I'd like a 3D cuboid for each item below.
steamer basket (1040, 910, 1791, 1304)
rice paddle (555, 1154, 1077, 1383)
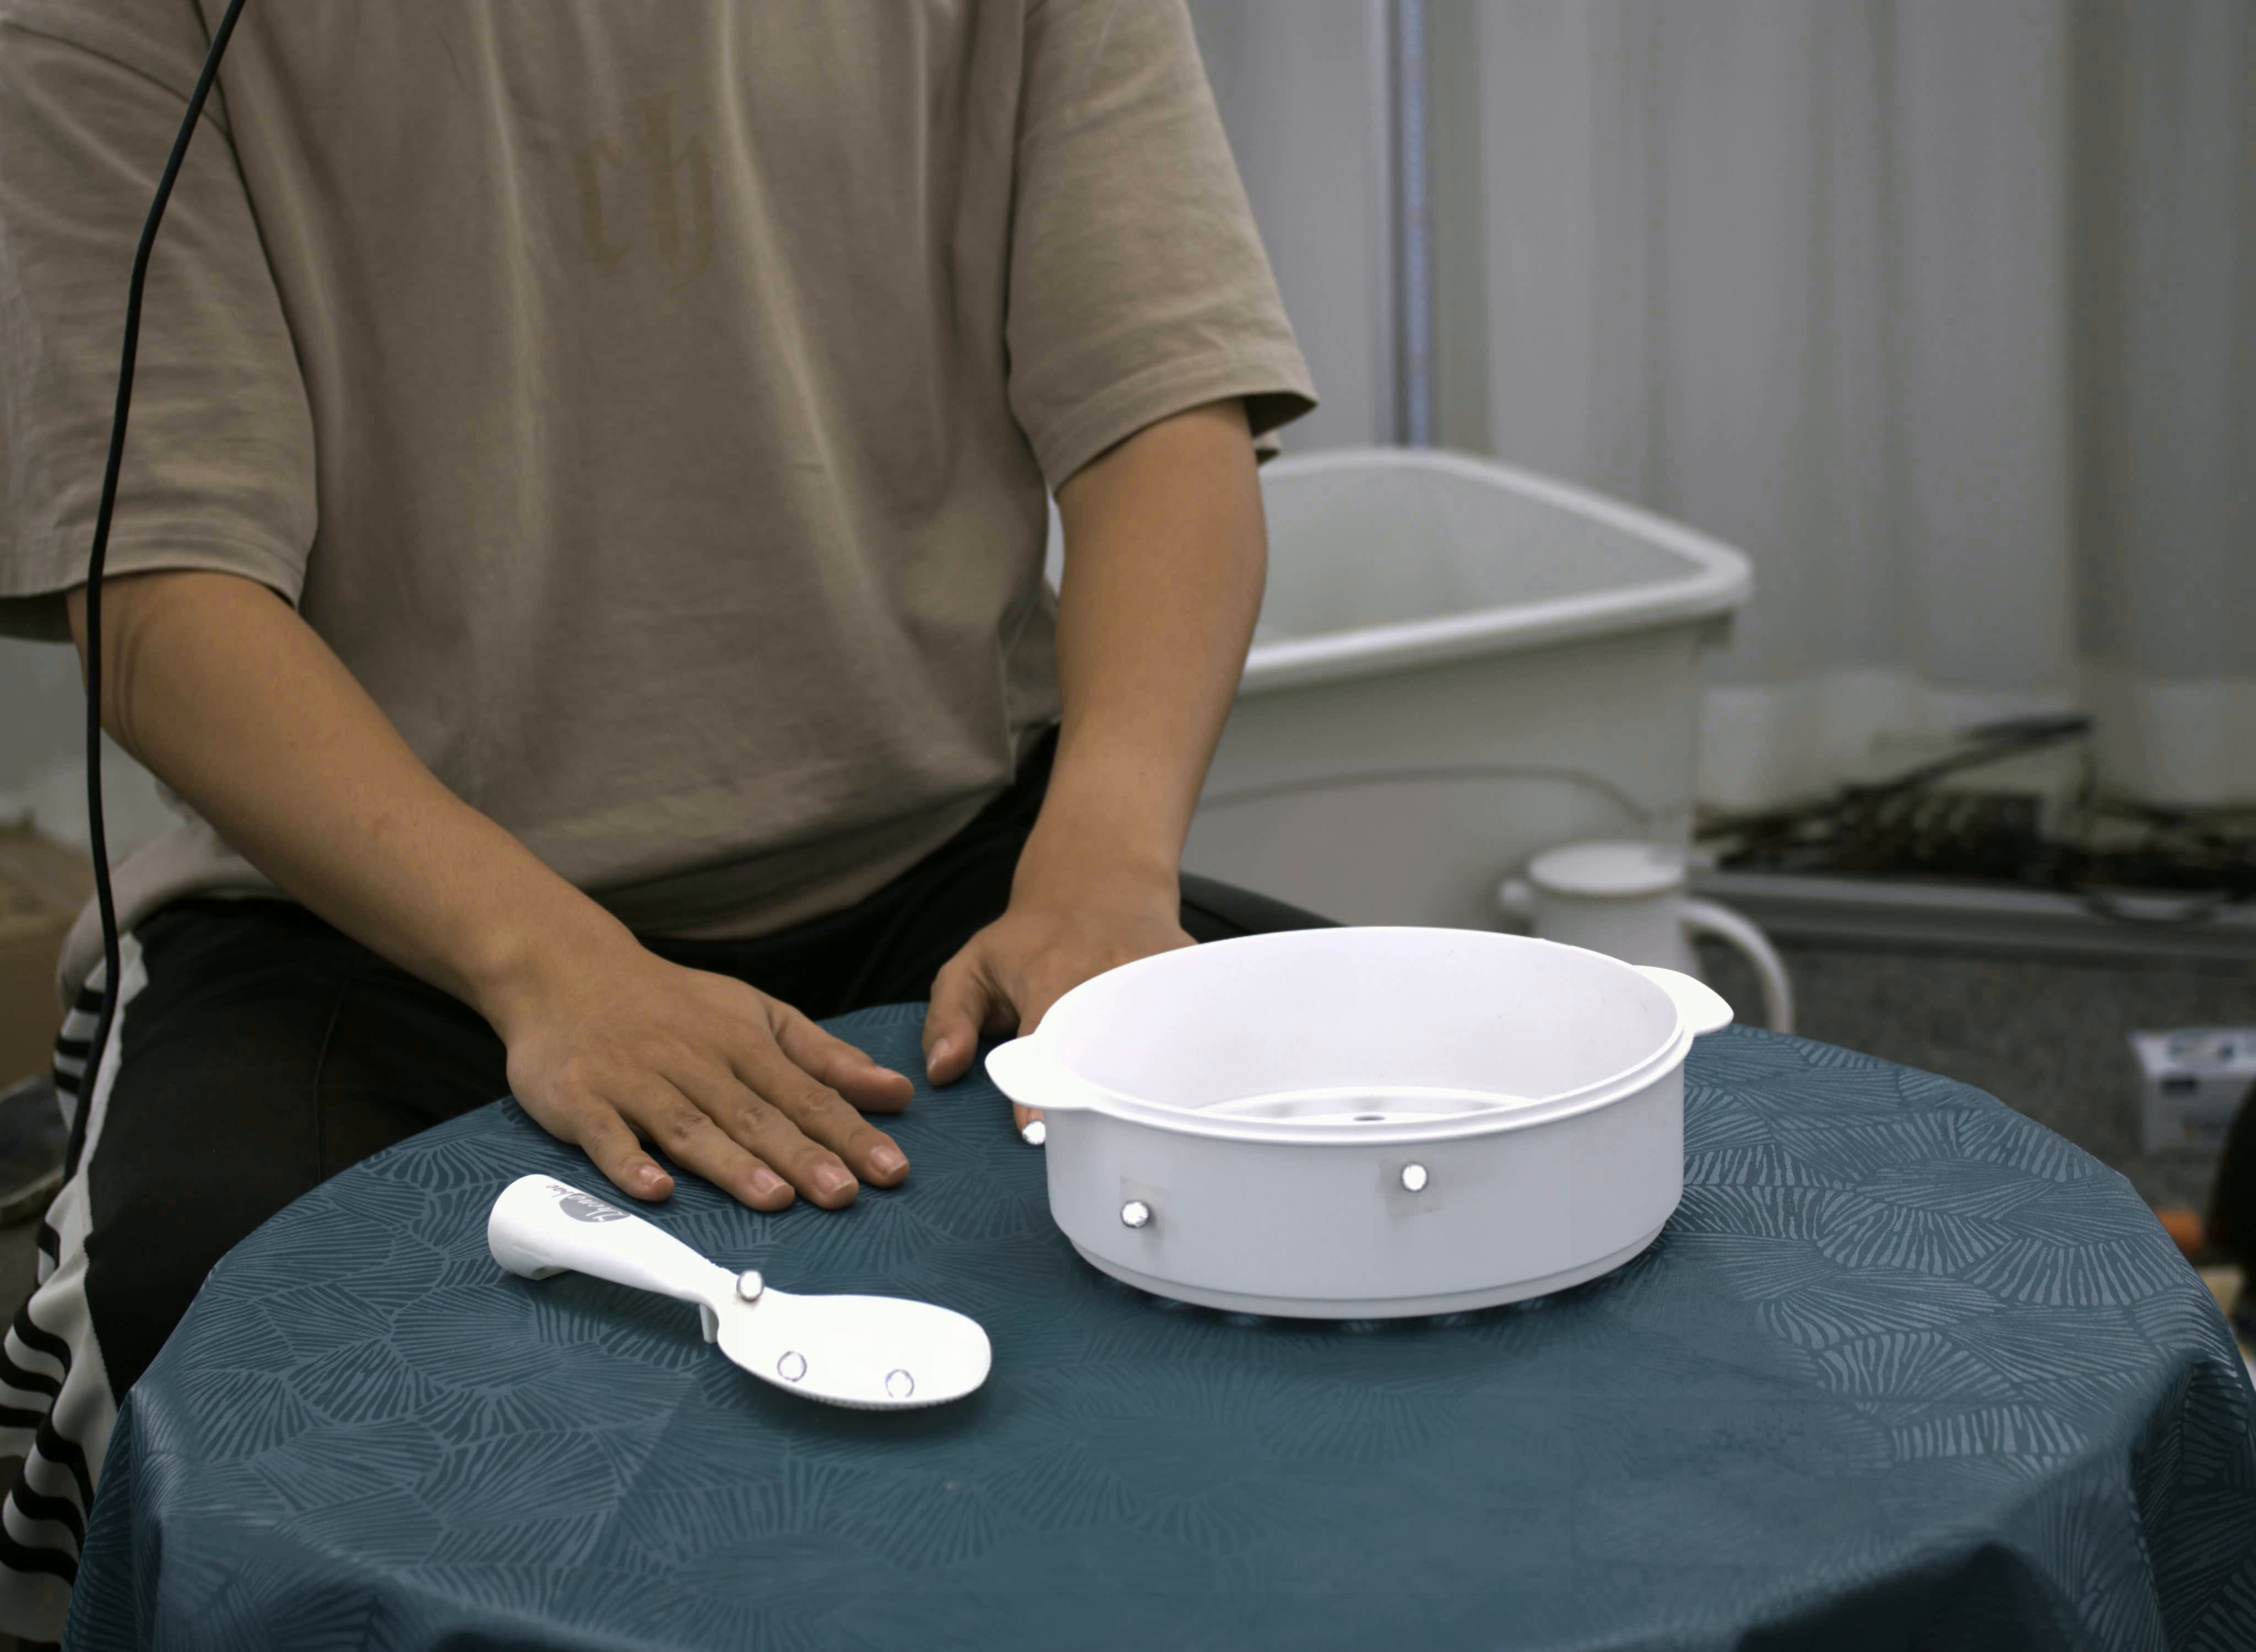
[{"bbox_3d":[0.088,0.085,1.664,0.229,0.069,0.203,-5,16,-13],"label":"steamer basket"},{"bbox_3d":[-0.093,0.131,1.594,0.068,0.029,0.206,-17,21,-40],"label":"rice paddle"}]
